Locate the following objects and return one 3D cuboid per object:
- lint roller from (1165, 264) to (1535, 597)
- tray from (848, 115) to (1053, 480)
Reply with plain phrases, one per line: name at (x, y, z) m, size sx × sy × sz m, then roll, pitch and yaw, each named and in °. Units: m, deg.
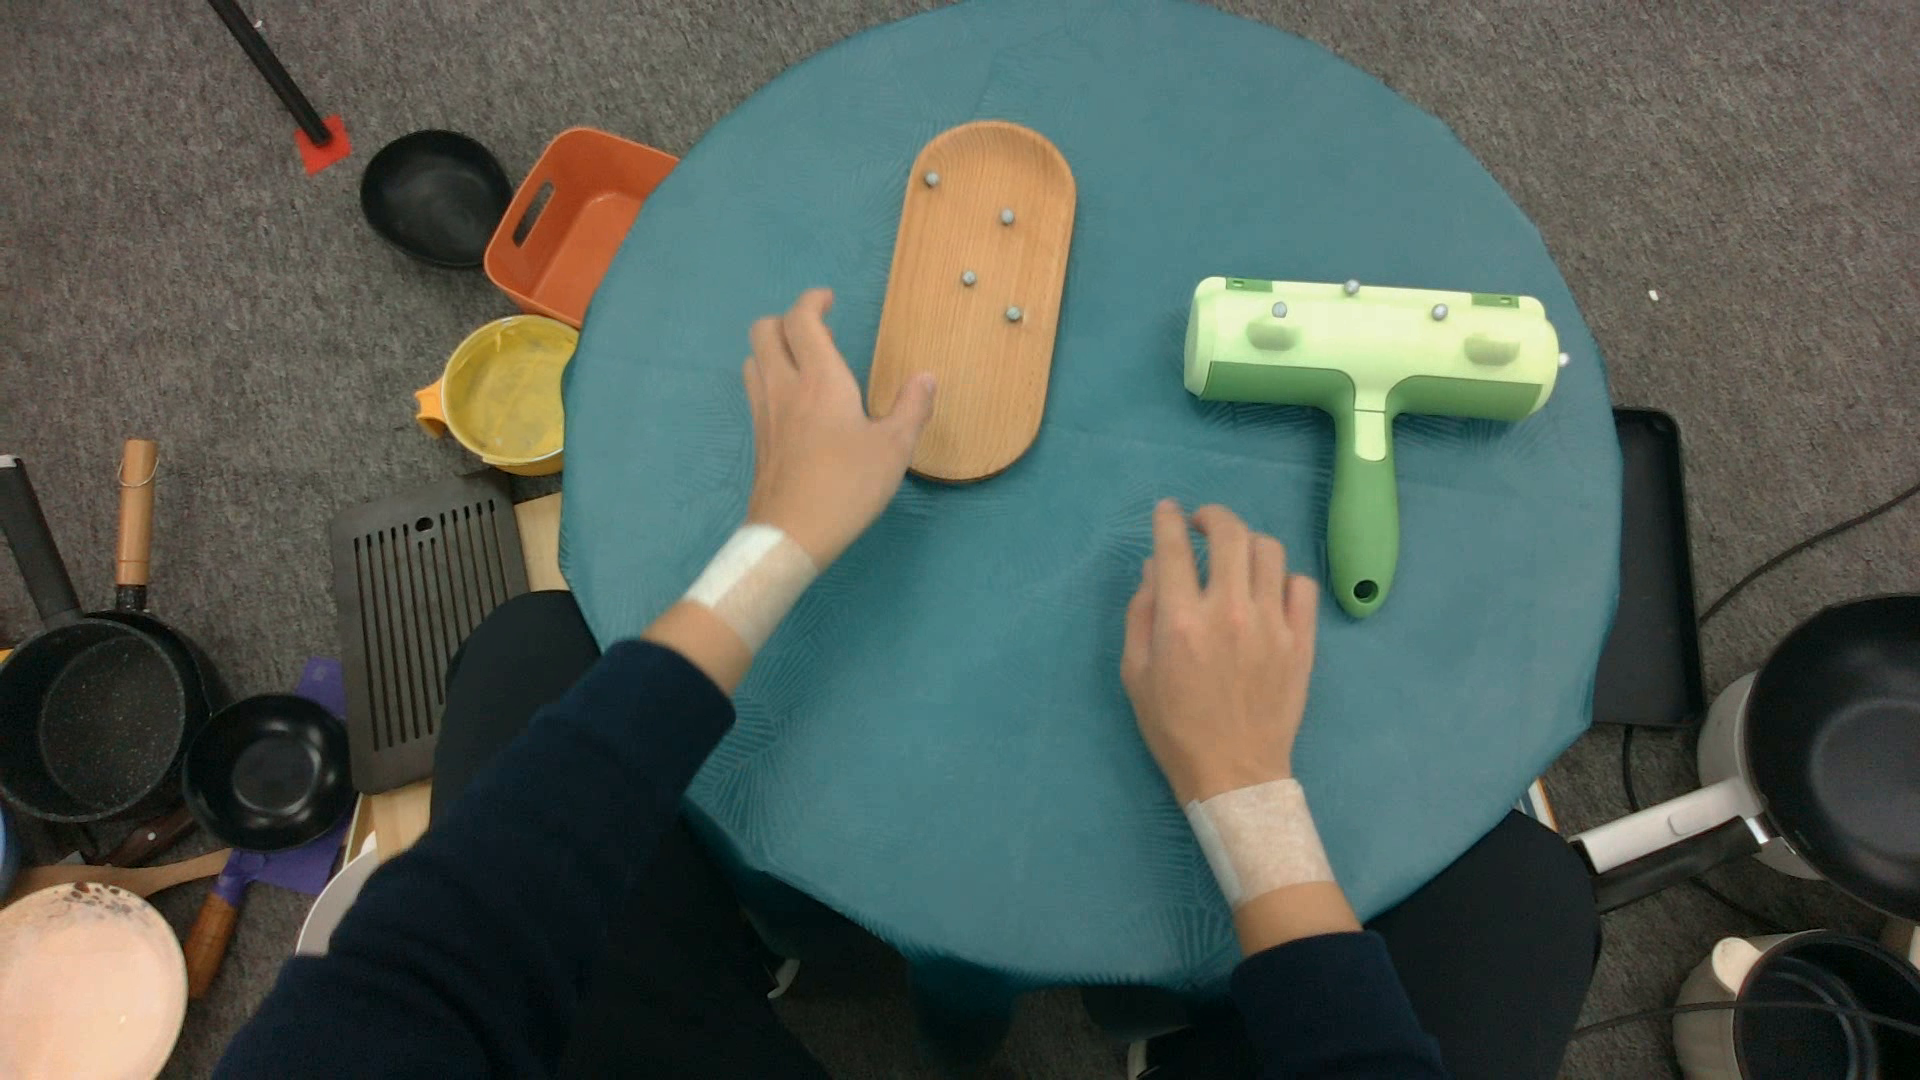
lint roller at (0.214, -0.067, 0.739) m, size 0.198 × 0.082 × 0.184 m, roll 2°, pitch 66°, yaw 0°
tray at (-0.004, -0.143, 0.794) m, size 0.101 × 0.020 × 0.232 m, roll 7°, pitch 73°, yaw 1°
